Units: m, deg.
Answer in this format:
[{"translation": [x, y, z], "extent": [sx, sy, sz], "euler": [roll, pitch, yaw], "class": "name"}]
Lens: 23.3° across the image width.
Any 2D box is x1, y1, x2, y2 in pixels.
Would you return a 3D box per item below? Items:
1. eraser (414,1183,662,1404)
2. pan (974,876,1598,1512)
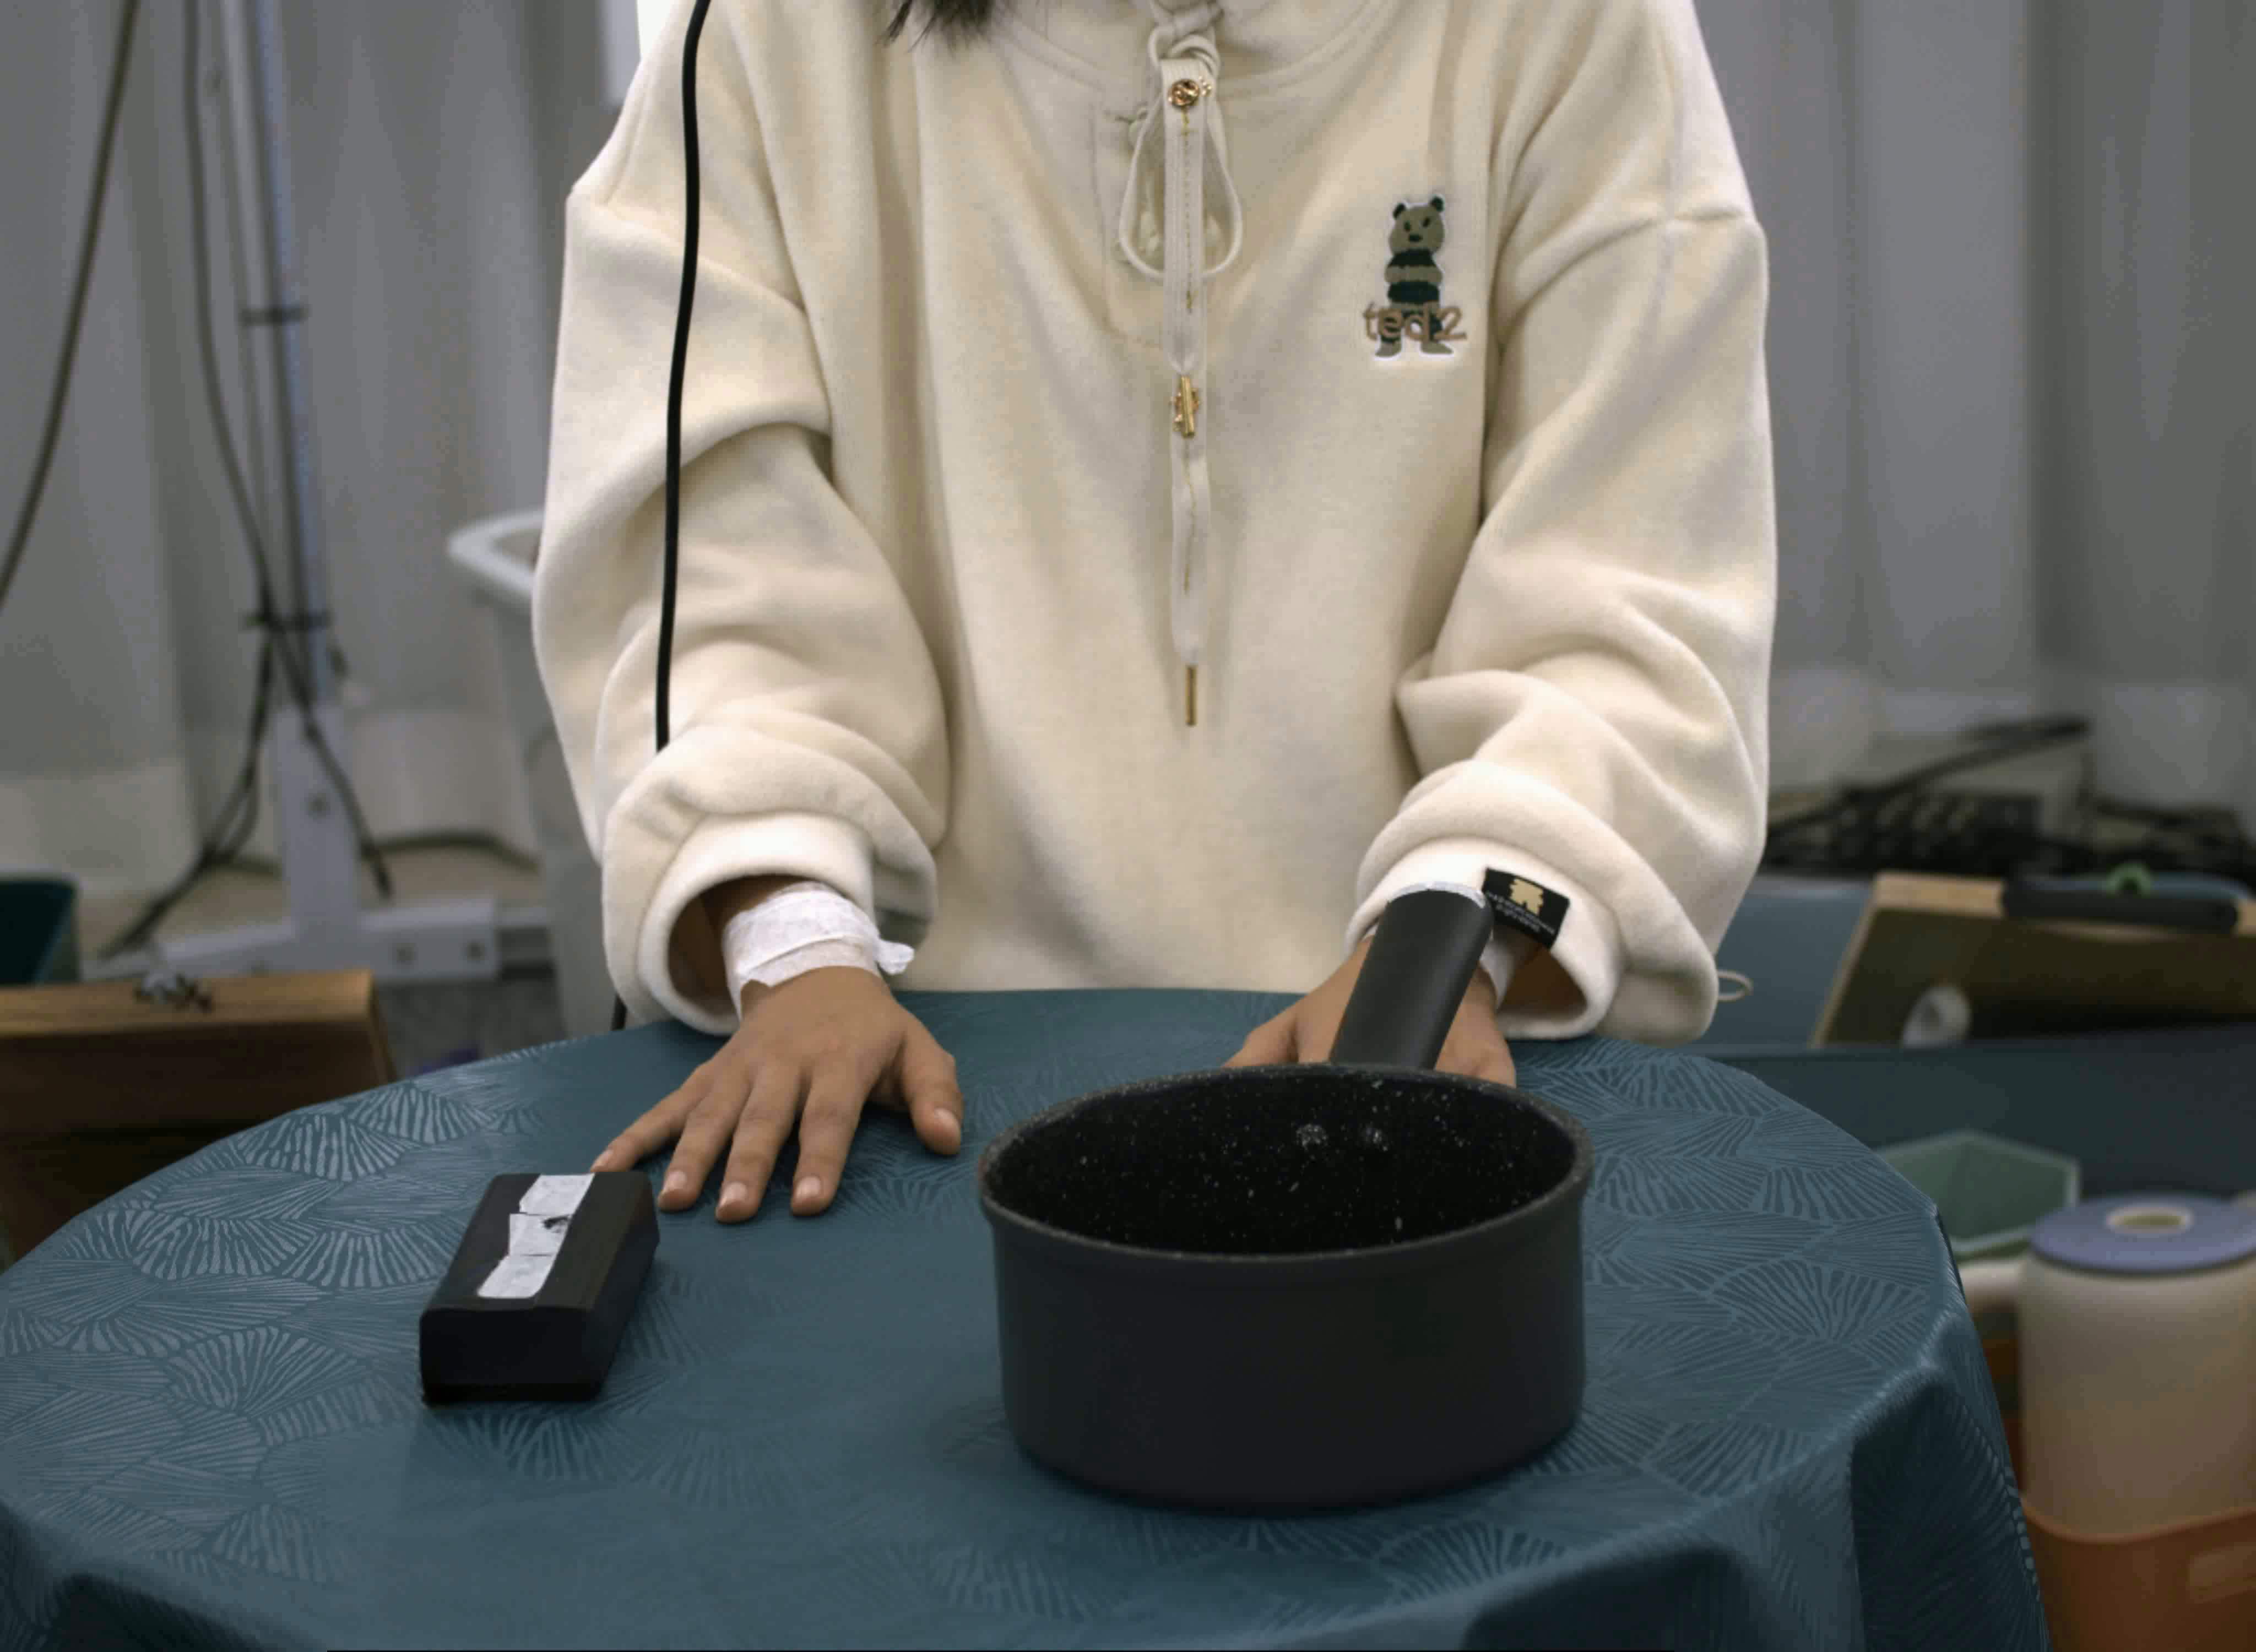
[{"translation": [-0.172, 0.137, 1.613], "extent": [0.053, 0.030, 0.126], "euler": [-1, 13, 4], "class": "eraser"}, {"translation": [0.066, 0.102, 1.585], "extent": [0.172, 0.086, 0.330], "euler": [2, 17, 16], "class": "pan"}]
